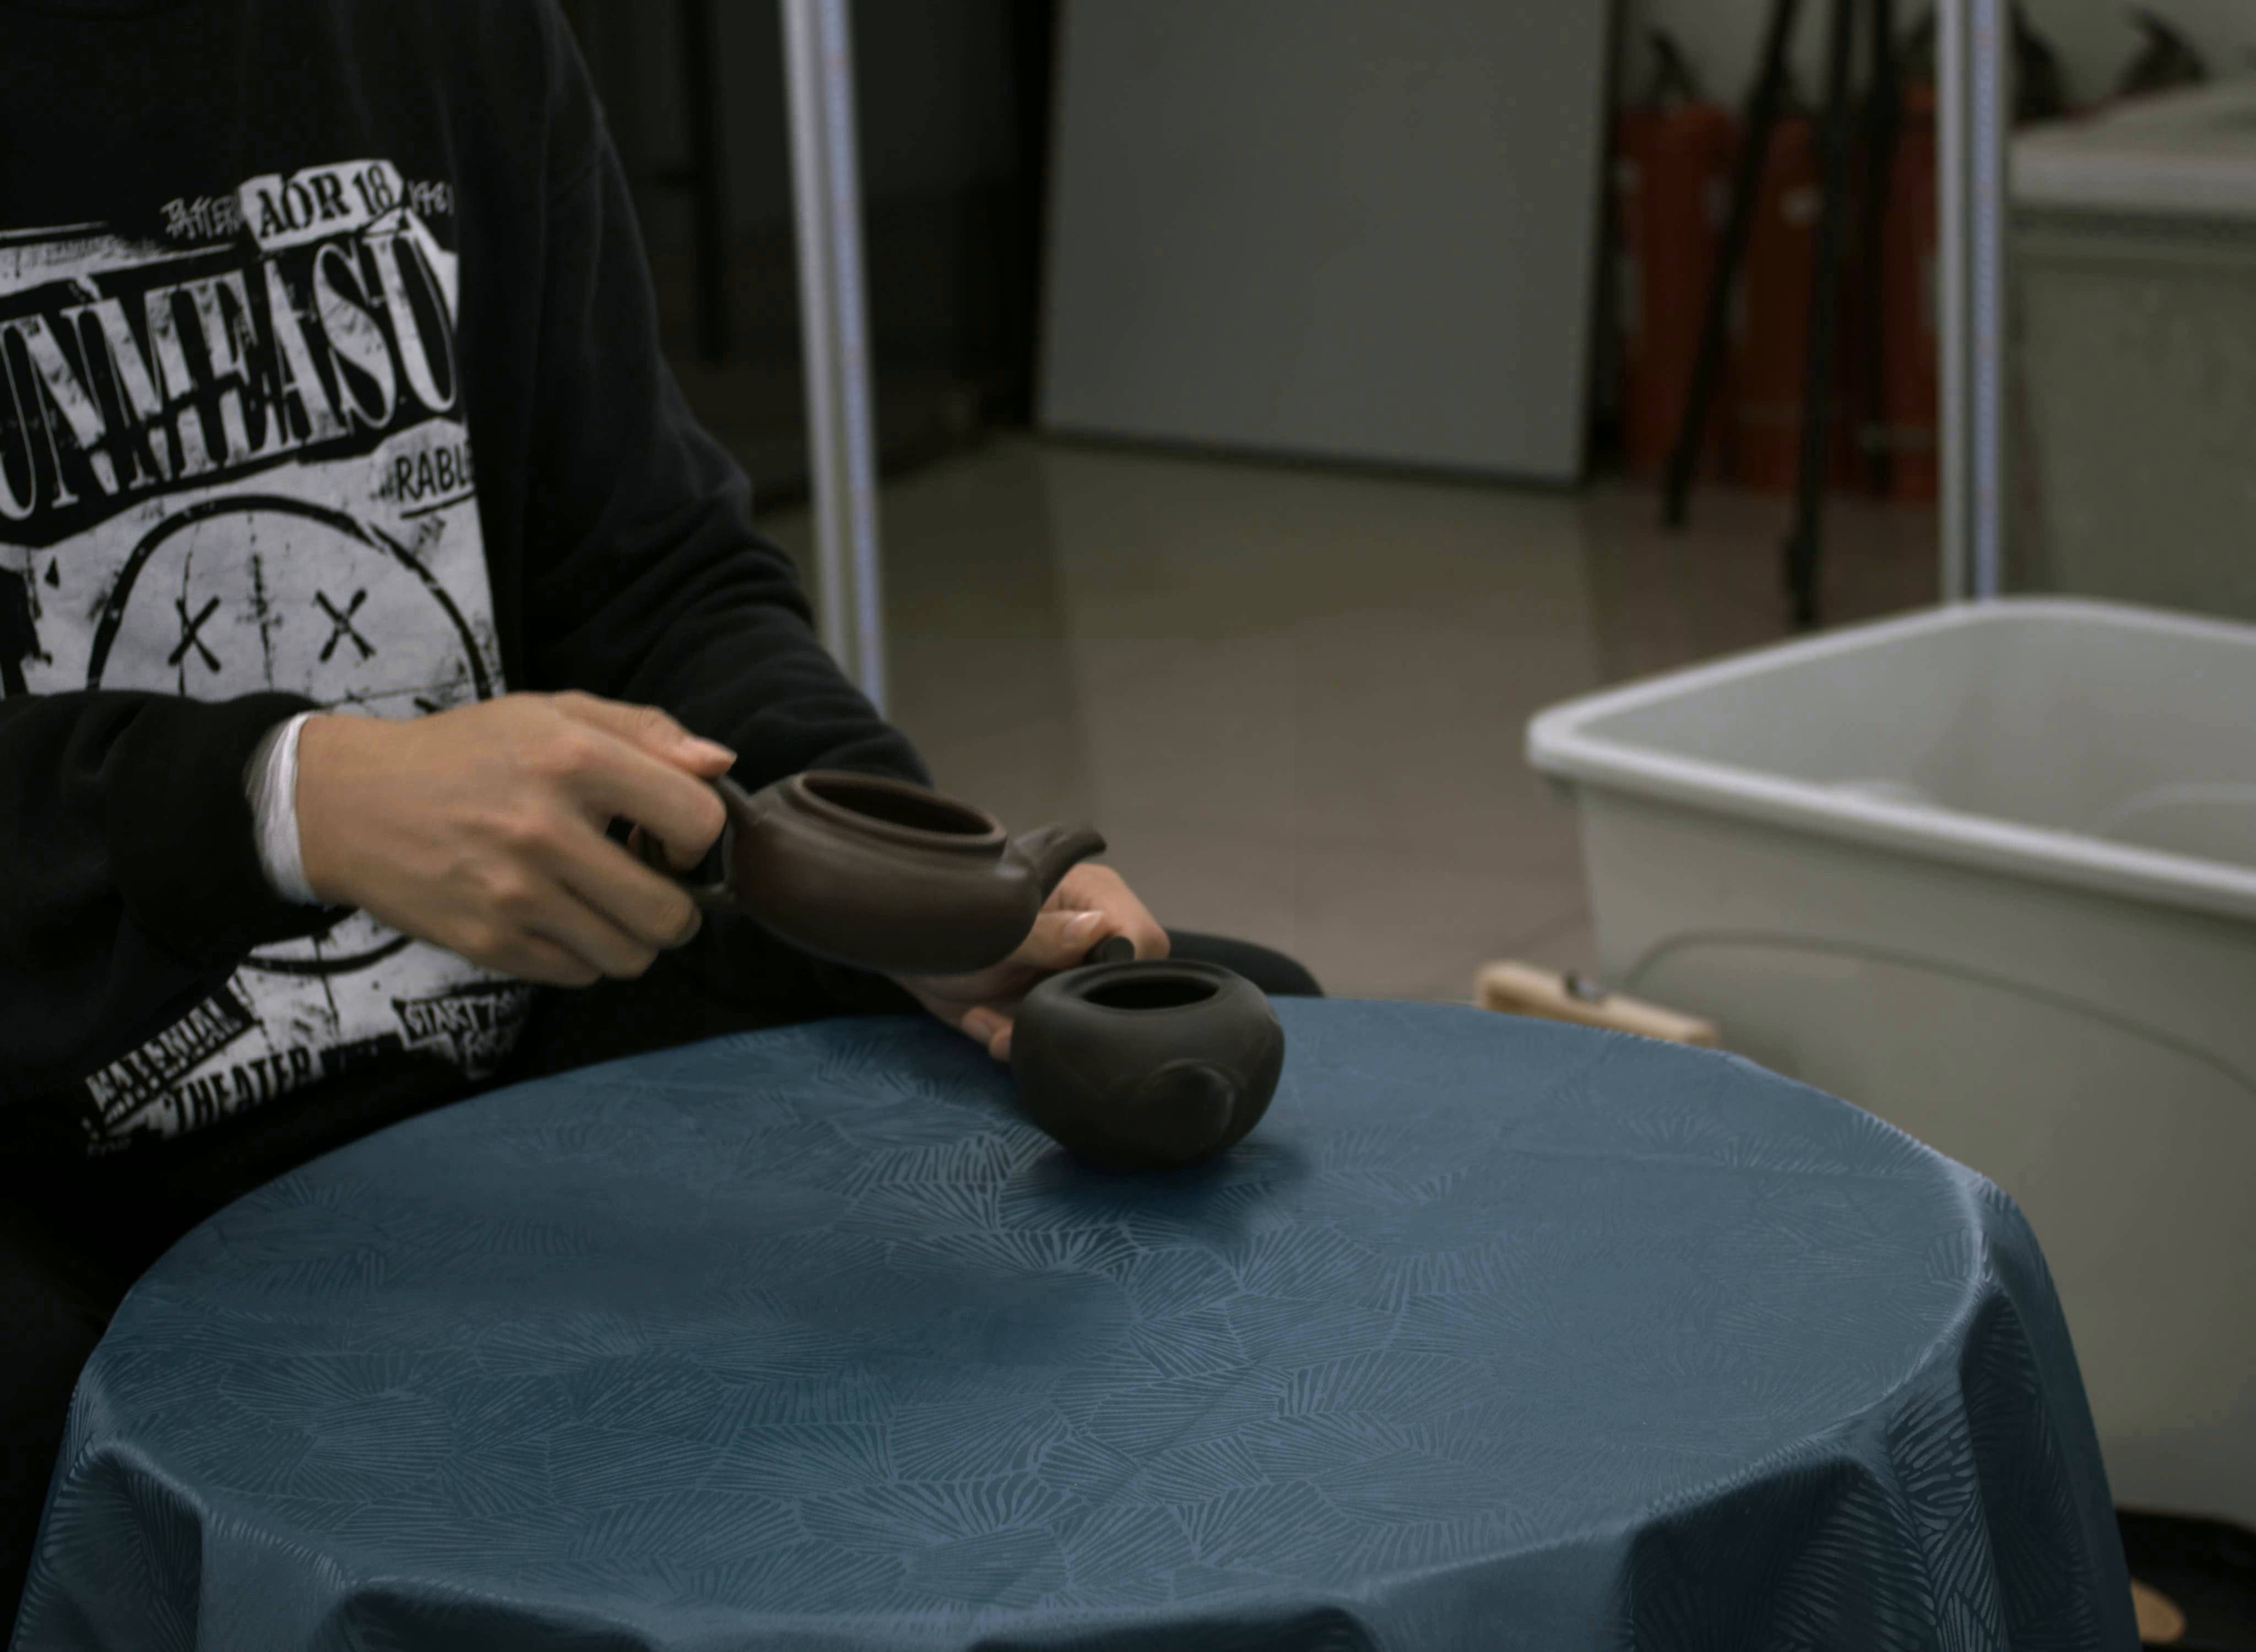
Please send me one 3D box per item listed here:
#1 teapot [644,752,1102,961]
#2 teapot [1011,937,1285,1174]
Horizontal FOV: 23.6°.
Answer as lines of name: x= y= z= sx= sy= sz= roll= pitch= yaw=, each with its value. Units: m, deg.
teapot: x=-0.081 y=0.009 z=1.704 sx=0.150 sy=0.054 sz=0.103 roll=10 pitch=8 yaw=-27
teapot: x=0.006 y=0.078 z=1.808 sx=0.090 sy=0.065 sz=0.155 roll=-3 pitch=16 yaw=-12
